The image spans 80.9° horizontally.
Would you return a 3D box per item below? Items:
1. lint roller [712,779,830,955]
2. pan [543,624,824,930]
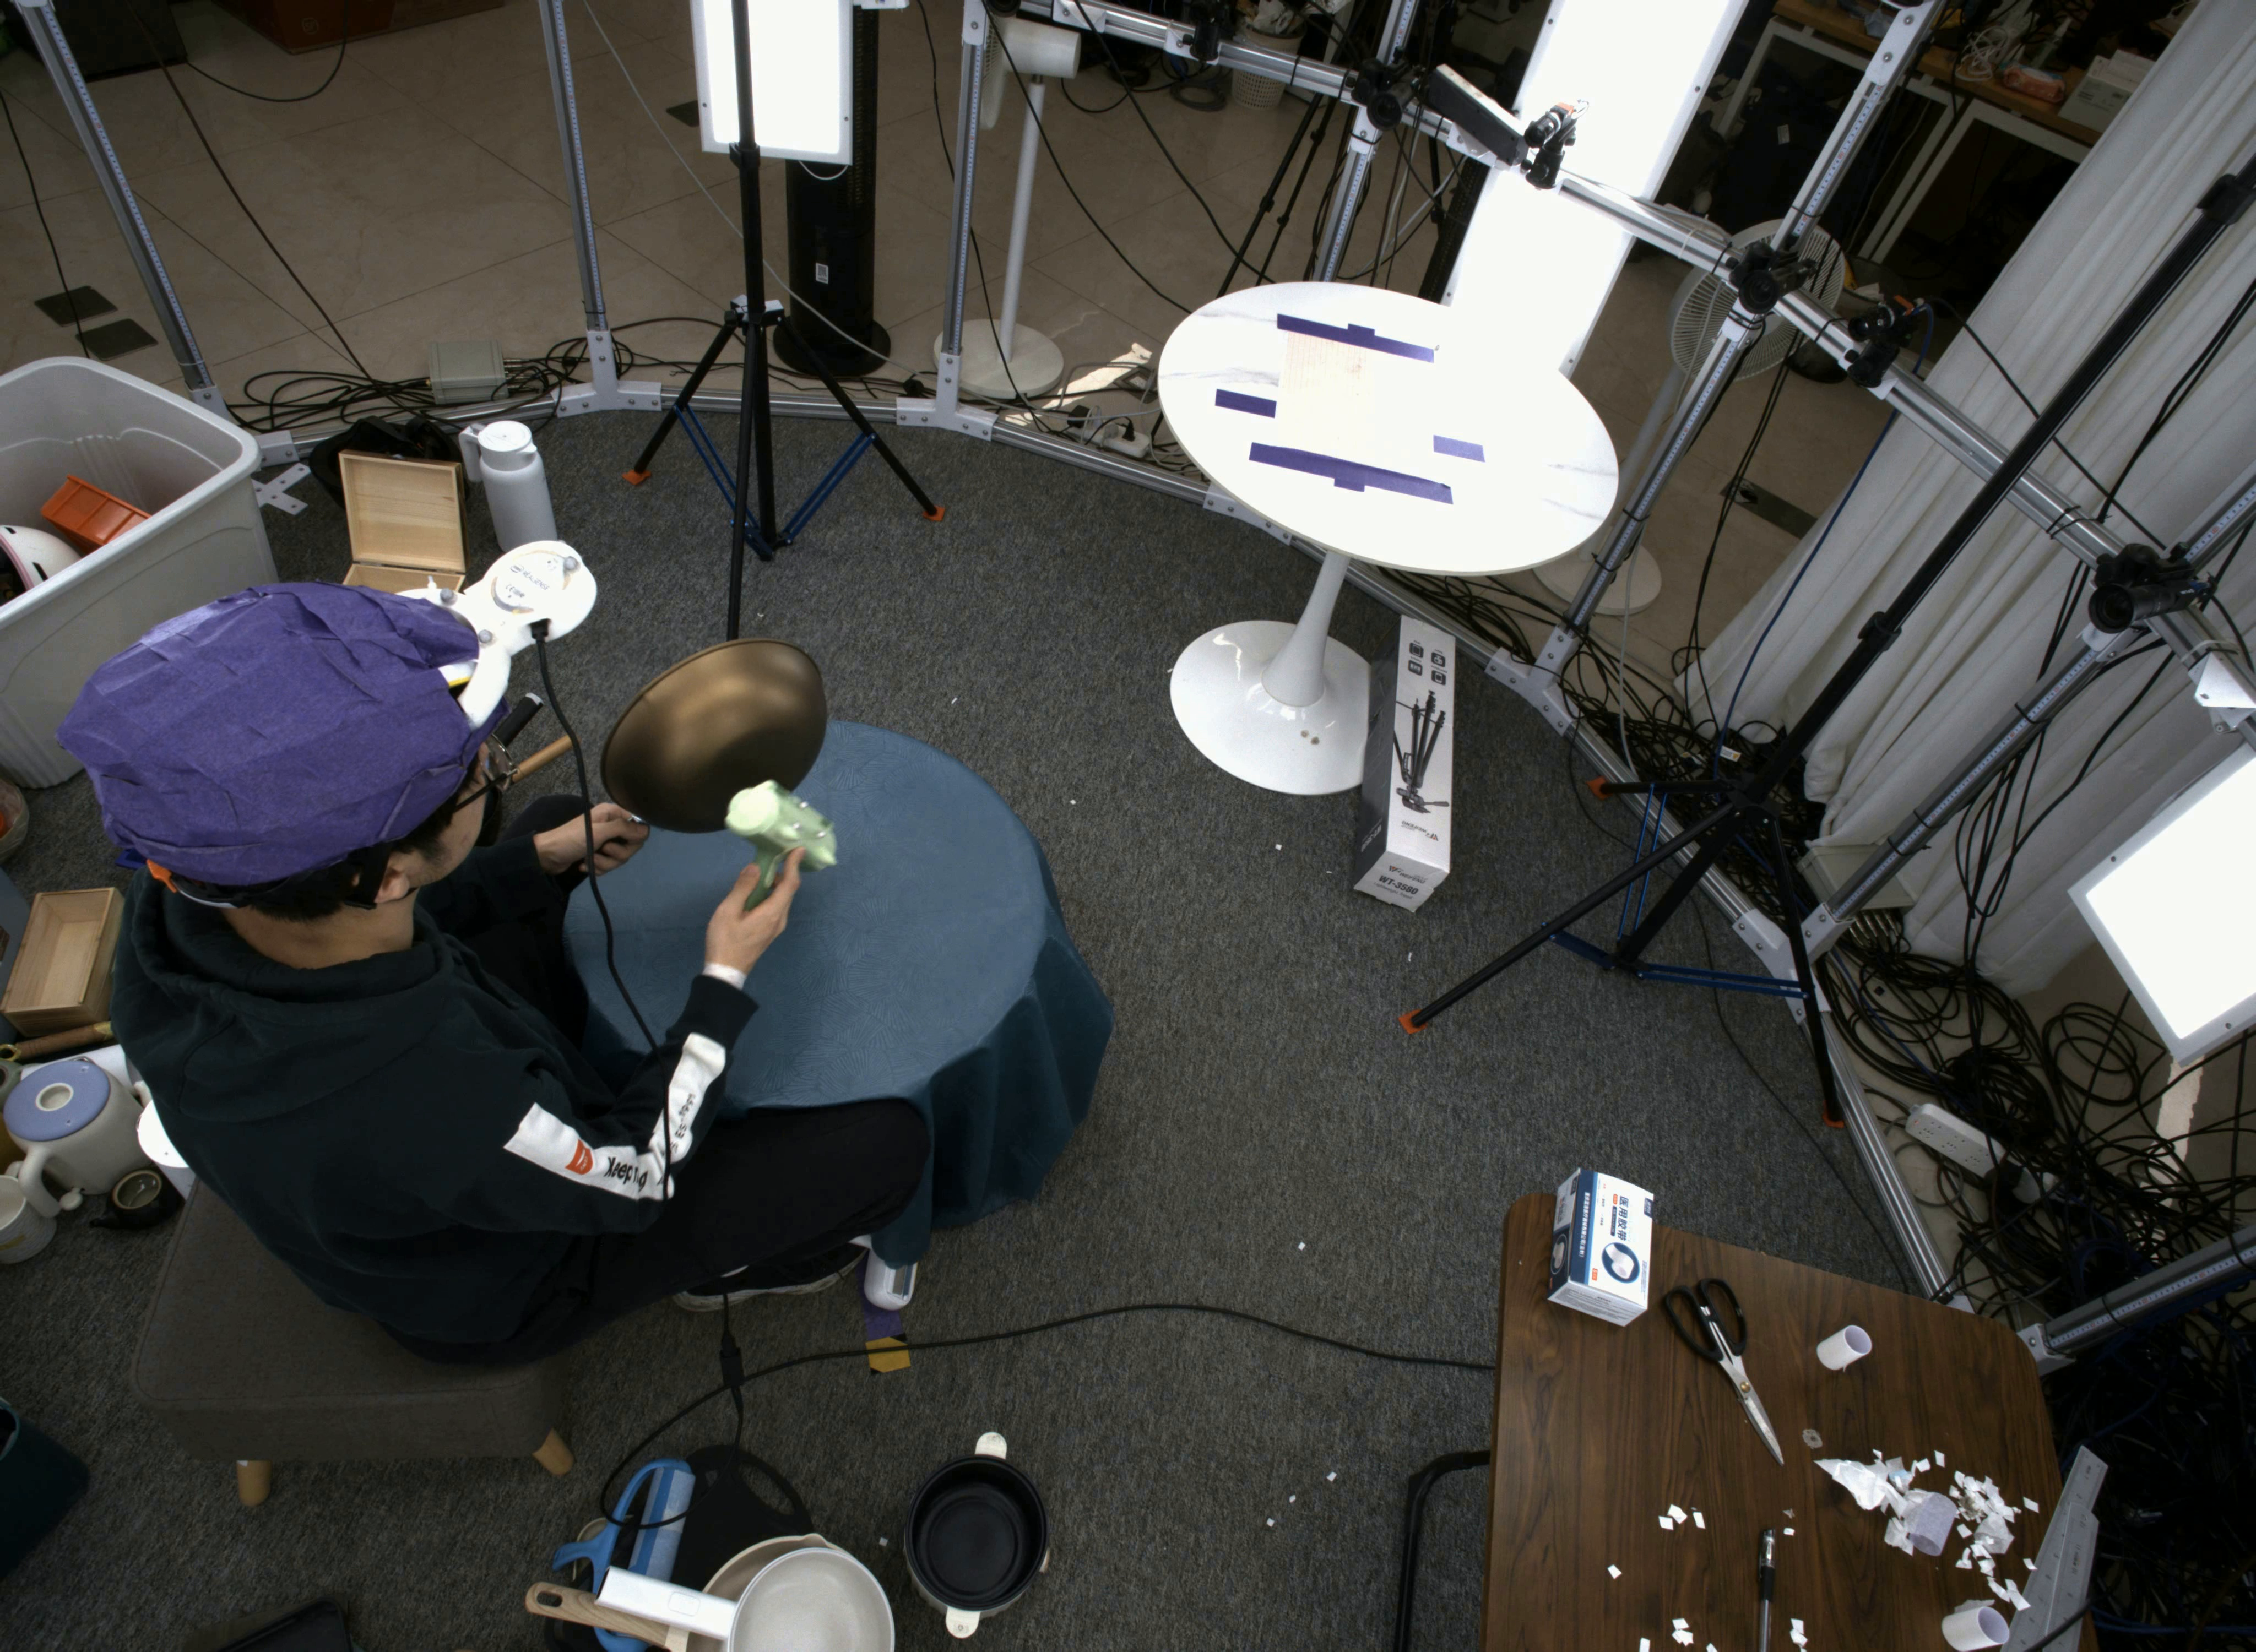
[{"bbox_3d":[-0.403,0.059,1.446,0.080,0.202,0.184,12,78,10],"label":"lint roller"},{"bbox_3d":[-0.518,-0.026,1.464,0.463,0.295,0.085,-44,67,3],"label":"pan"}]
